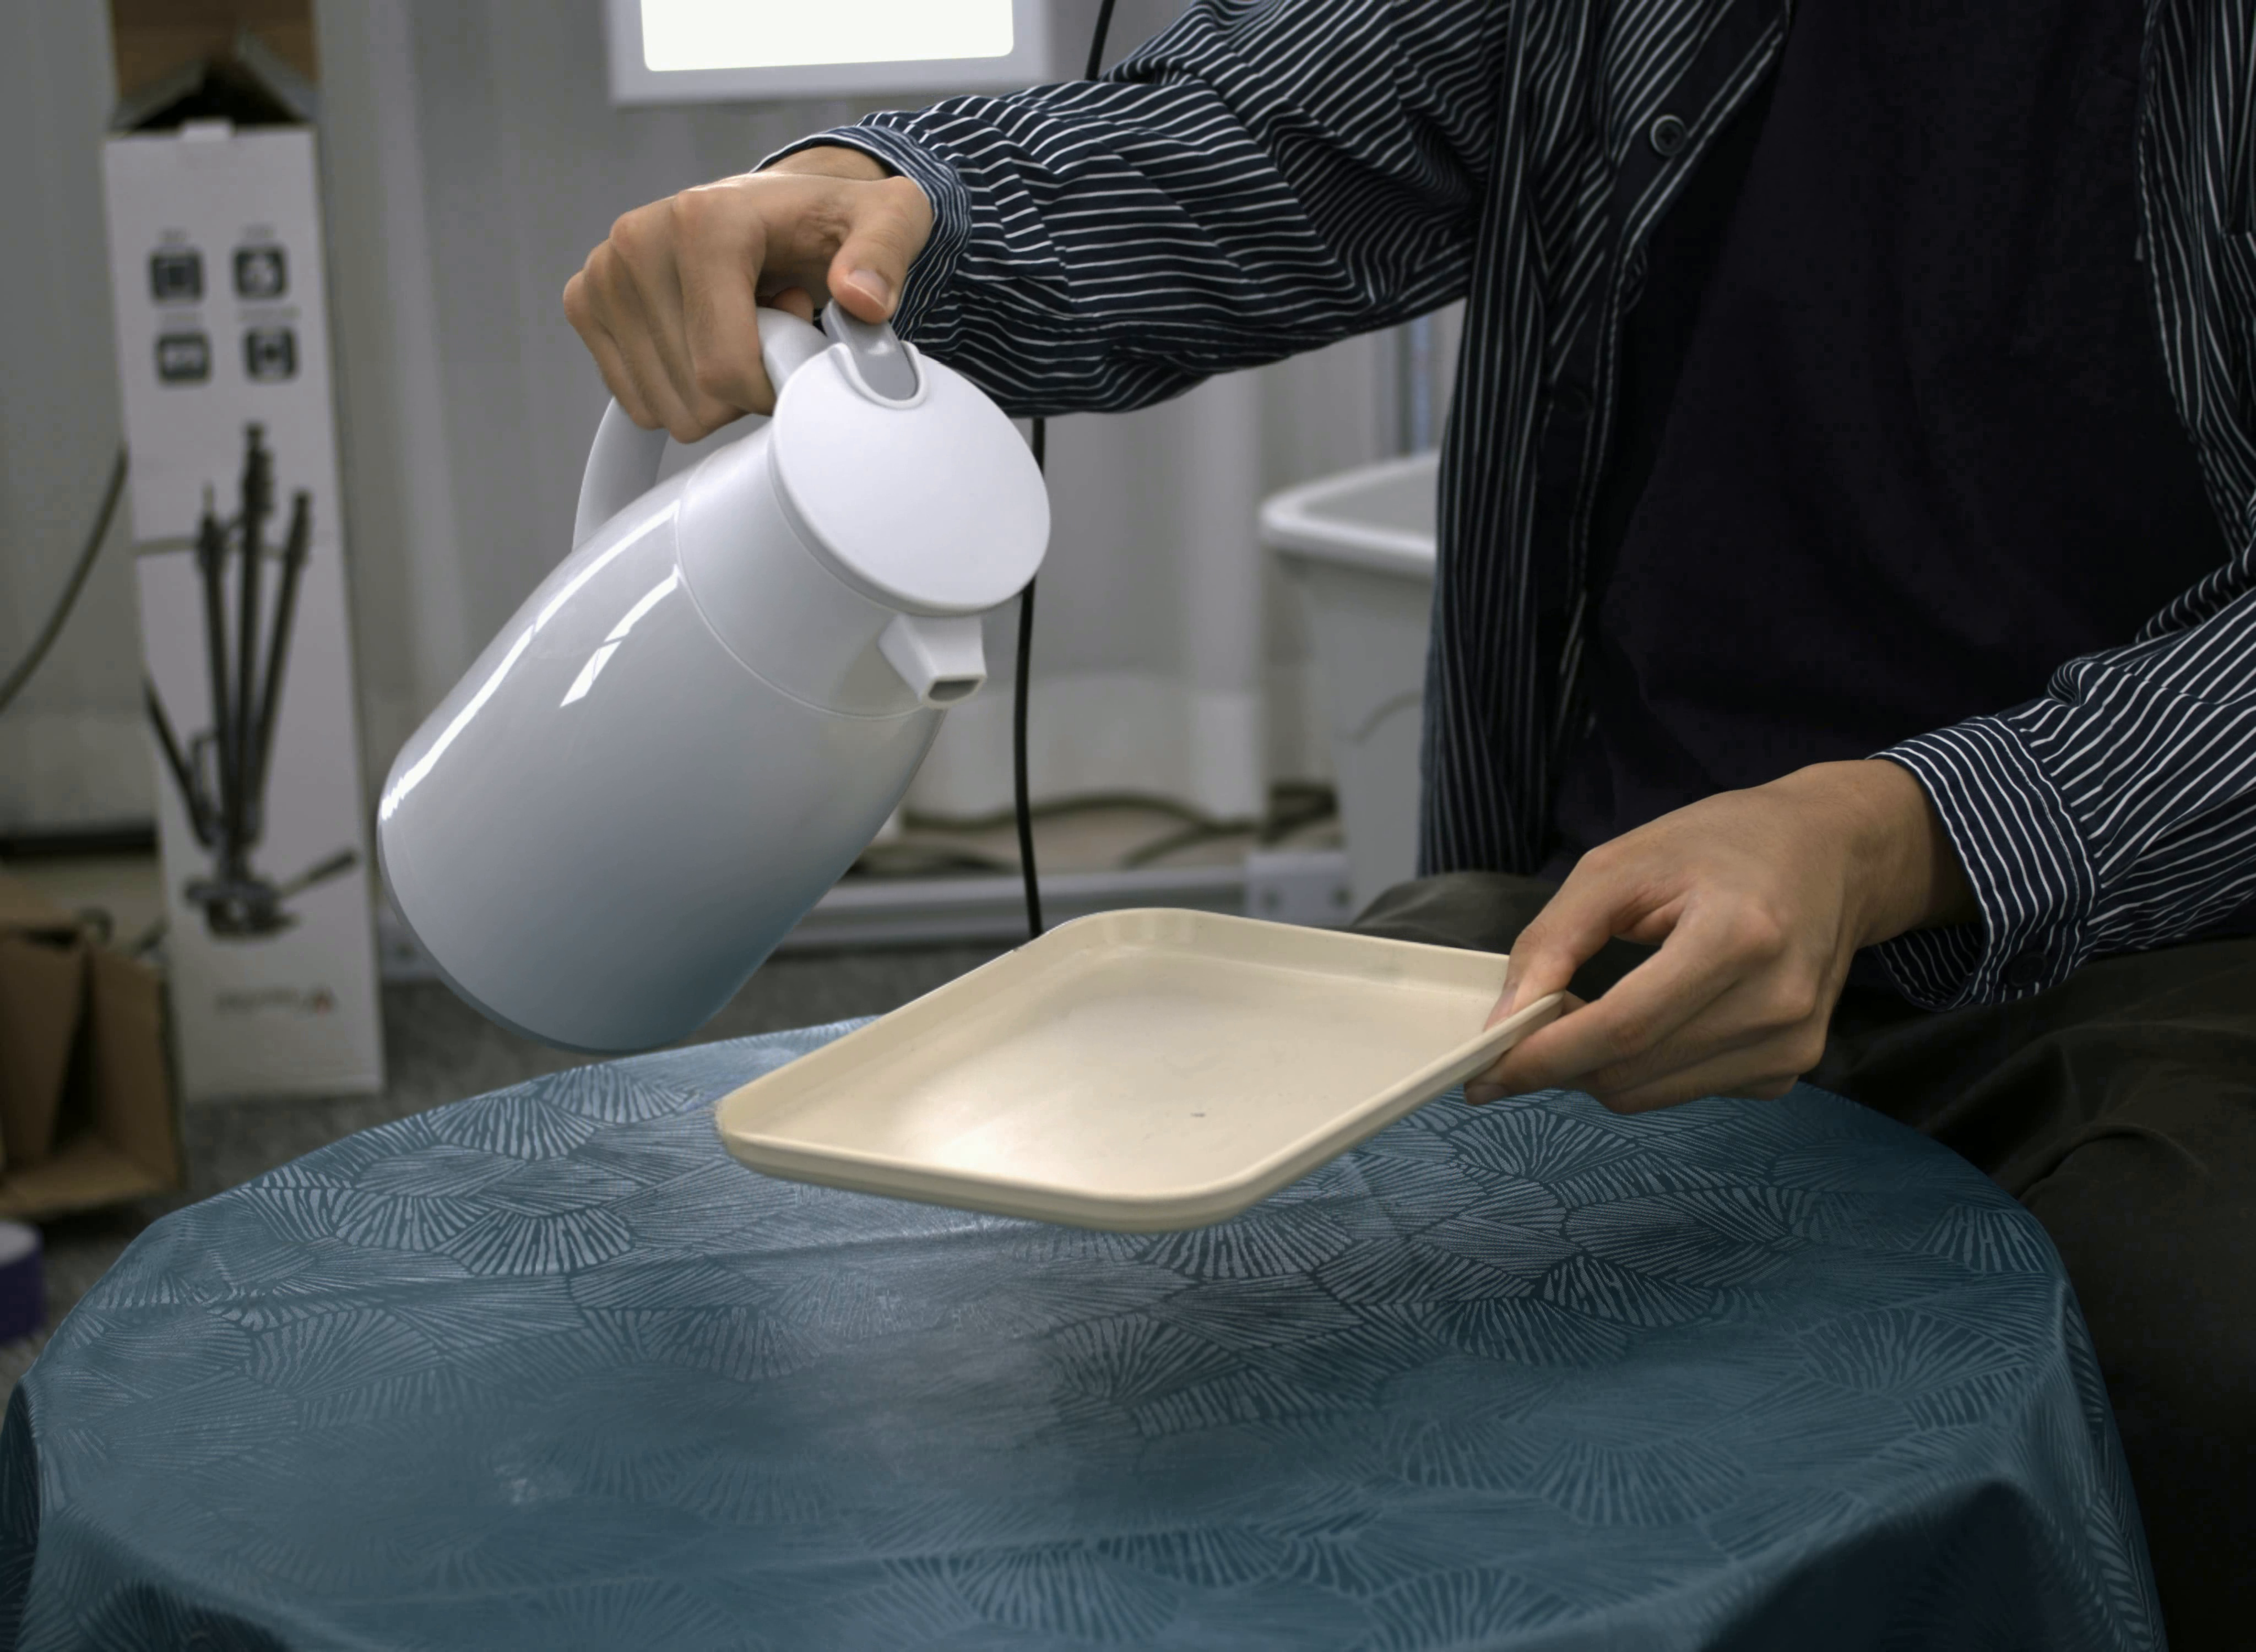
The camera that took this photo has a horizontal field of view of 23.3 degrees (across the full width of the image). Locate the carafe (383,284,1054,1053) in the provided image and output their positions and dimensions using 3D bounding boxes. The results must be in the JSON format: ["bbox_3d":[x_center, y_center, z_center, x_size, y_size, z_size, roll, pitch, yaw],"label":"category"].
[{"bbox_3d":[-0.127,-0.062,1.677,0.132,0.169,0.247,-9,-26,-38],"label":"carafe"}]

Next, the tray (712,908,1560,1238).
[{"bbox_3d":[0.006,0.069,1.562,0.172,0.017,0.240,8,18,30],"label":"tray"}]
